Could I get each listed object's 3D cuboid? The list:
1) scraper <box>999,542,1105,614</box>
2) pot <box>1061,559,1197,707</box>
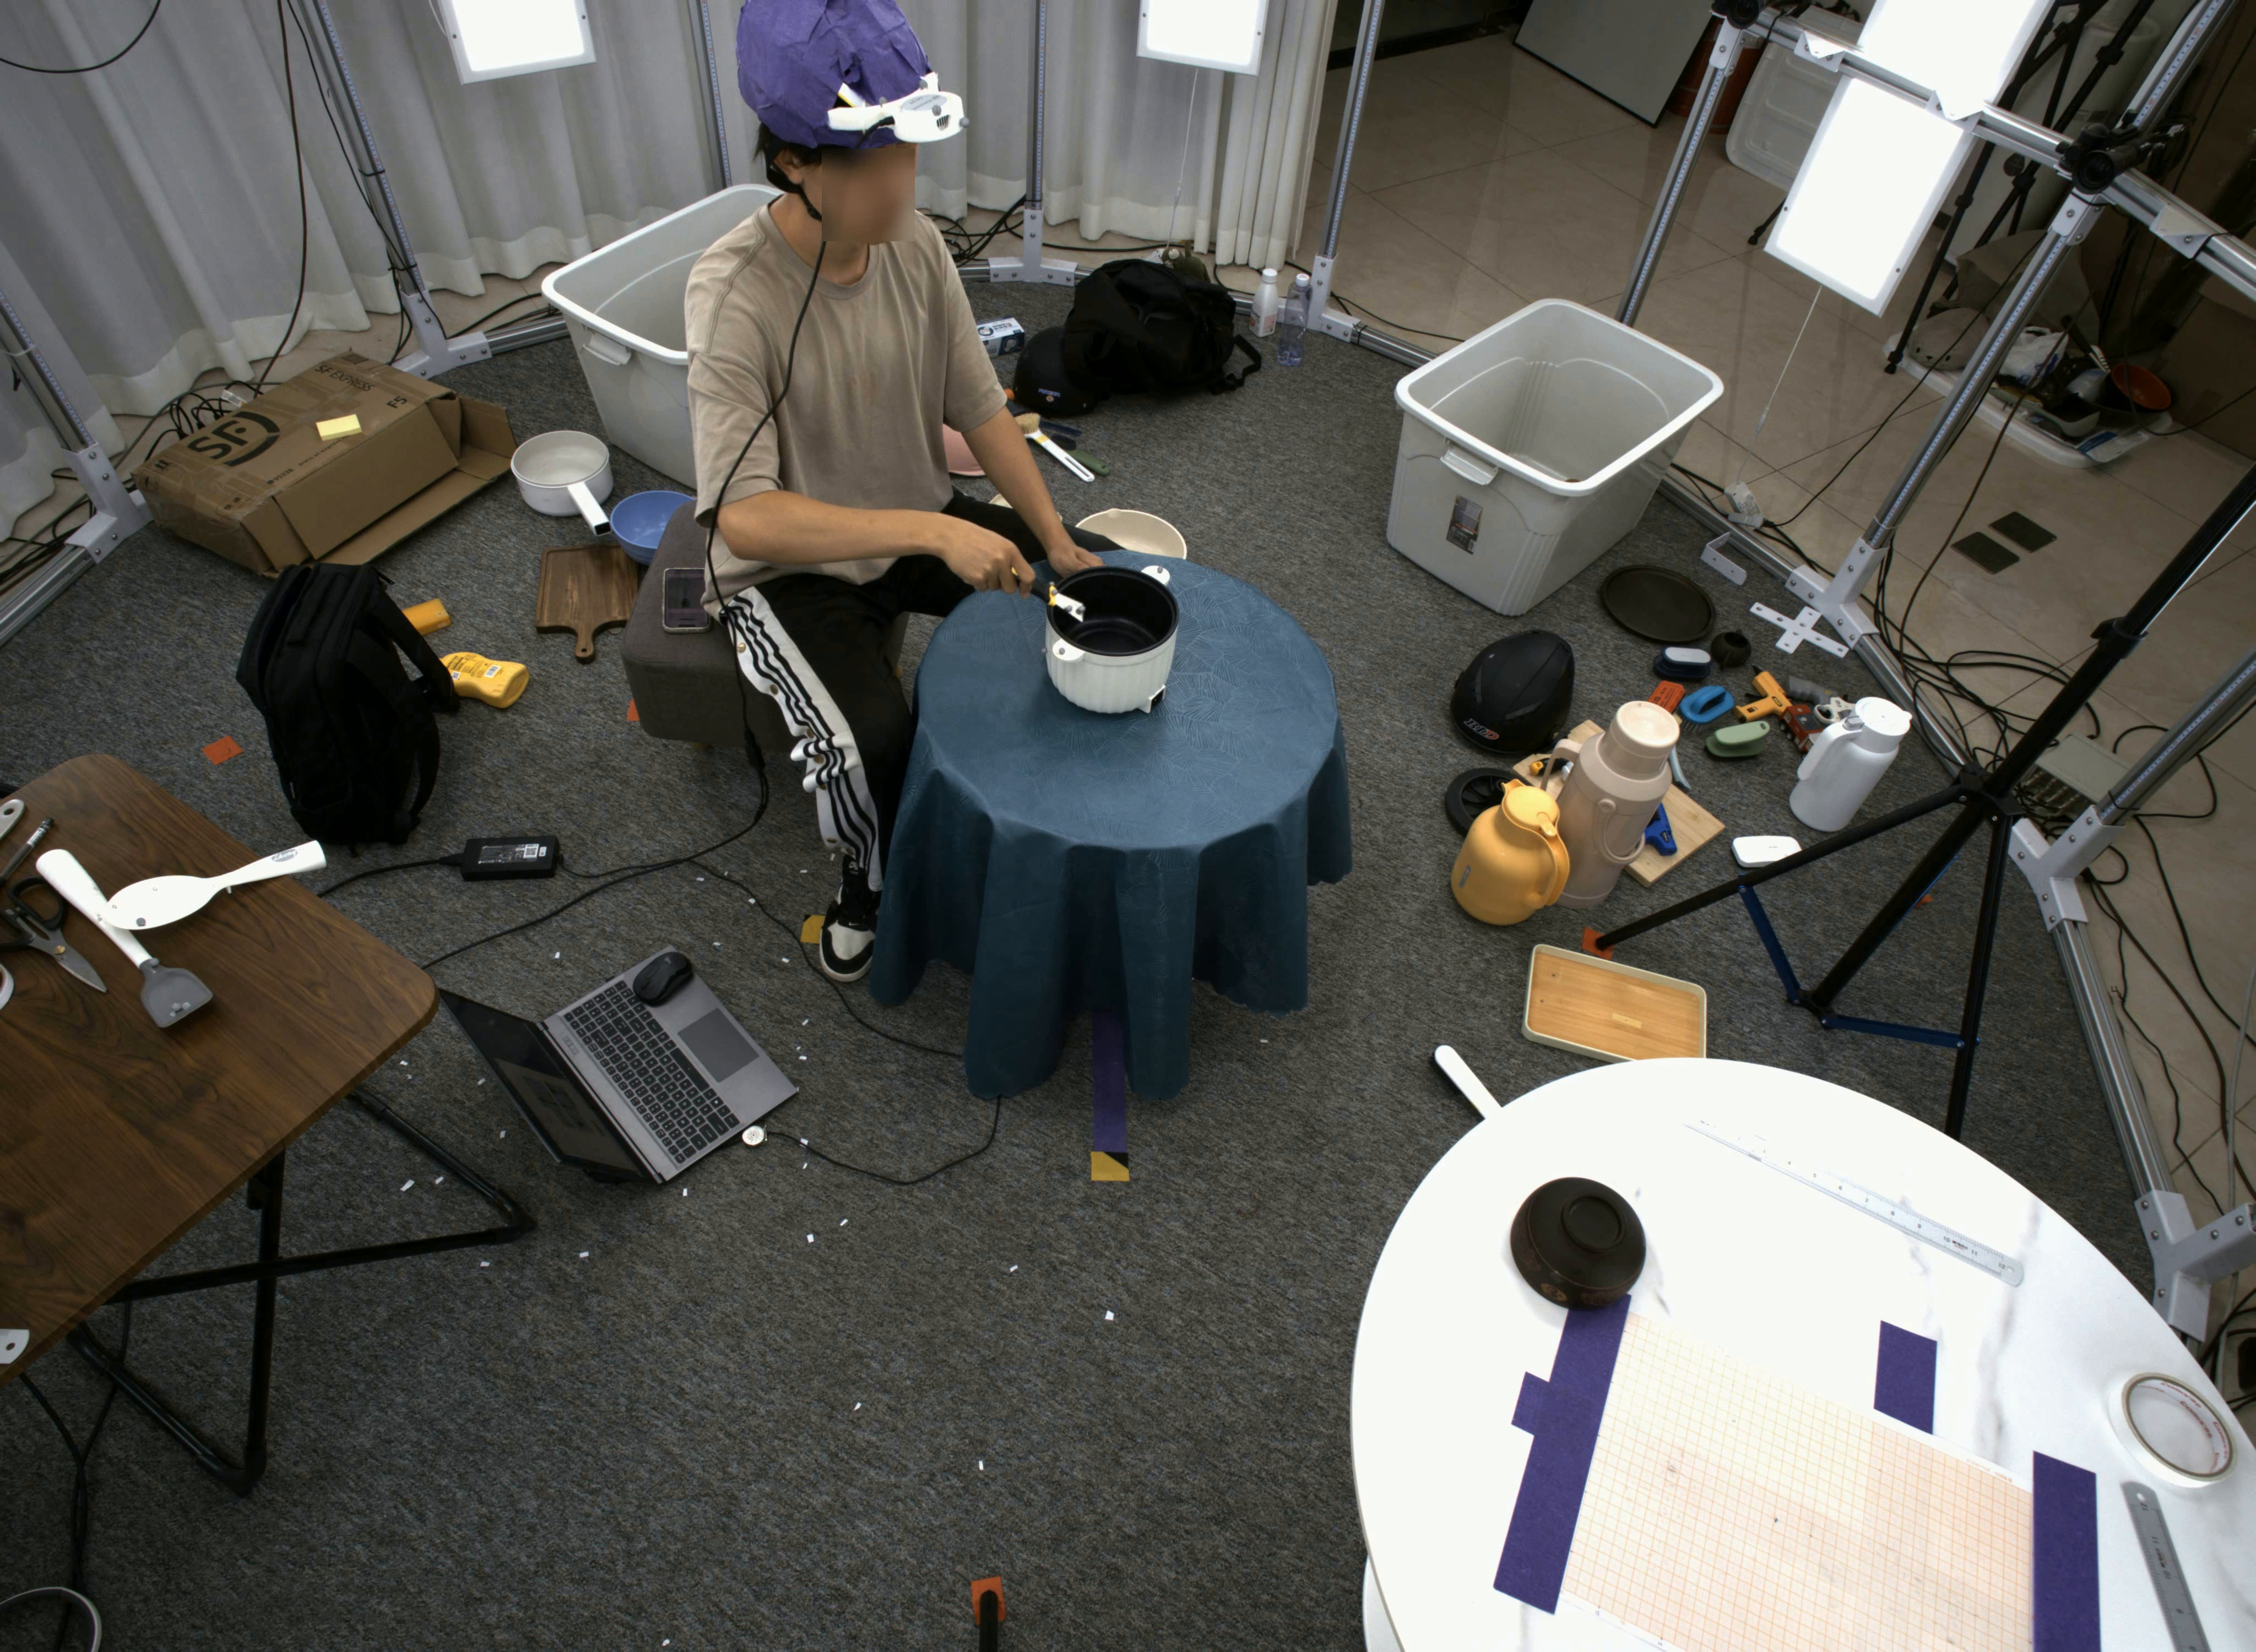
[{"bbox_3d":[-0.098,-0.328,1.698,0.169,0.015,0.039,23,53,-33],"label":"scraper"},{"bbox_3d":[-0.007,-0.265,1.792,0.192,0.139,0.243,33,52,16],"label":"pot"}]
